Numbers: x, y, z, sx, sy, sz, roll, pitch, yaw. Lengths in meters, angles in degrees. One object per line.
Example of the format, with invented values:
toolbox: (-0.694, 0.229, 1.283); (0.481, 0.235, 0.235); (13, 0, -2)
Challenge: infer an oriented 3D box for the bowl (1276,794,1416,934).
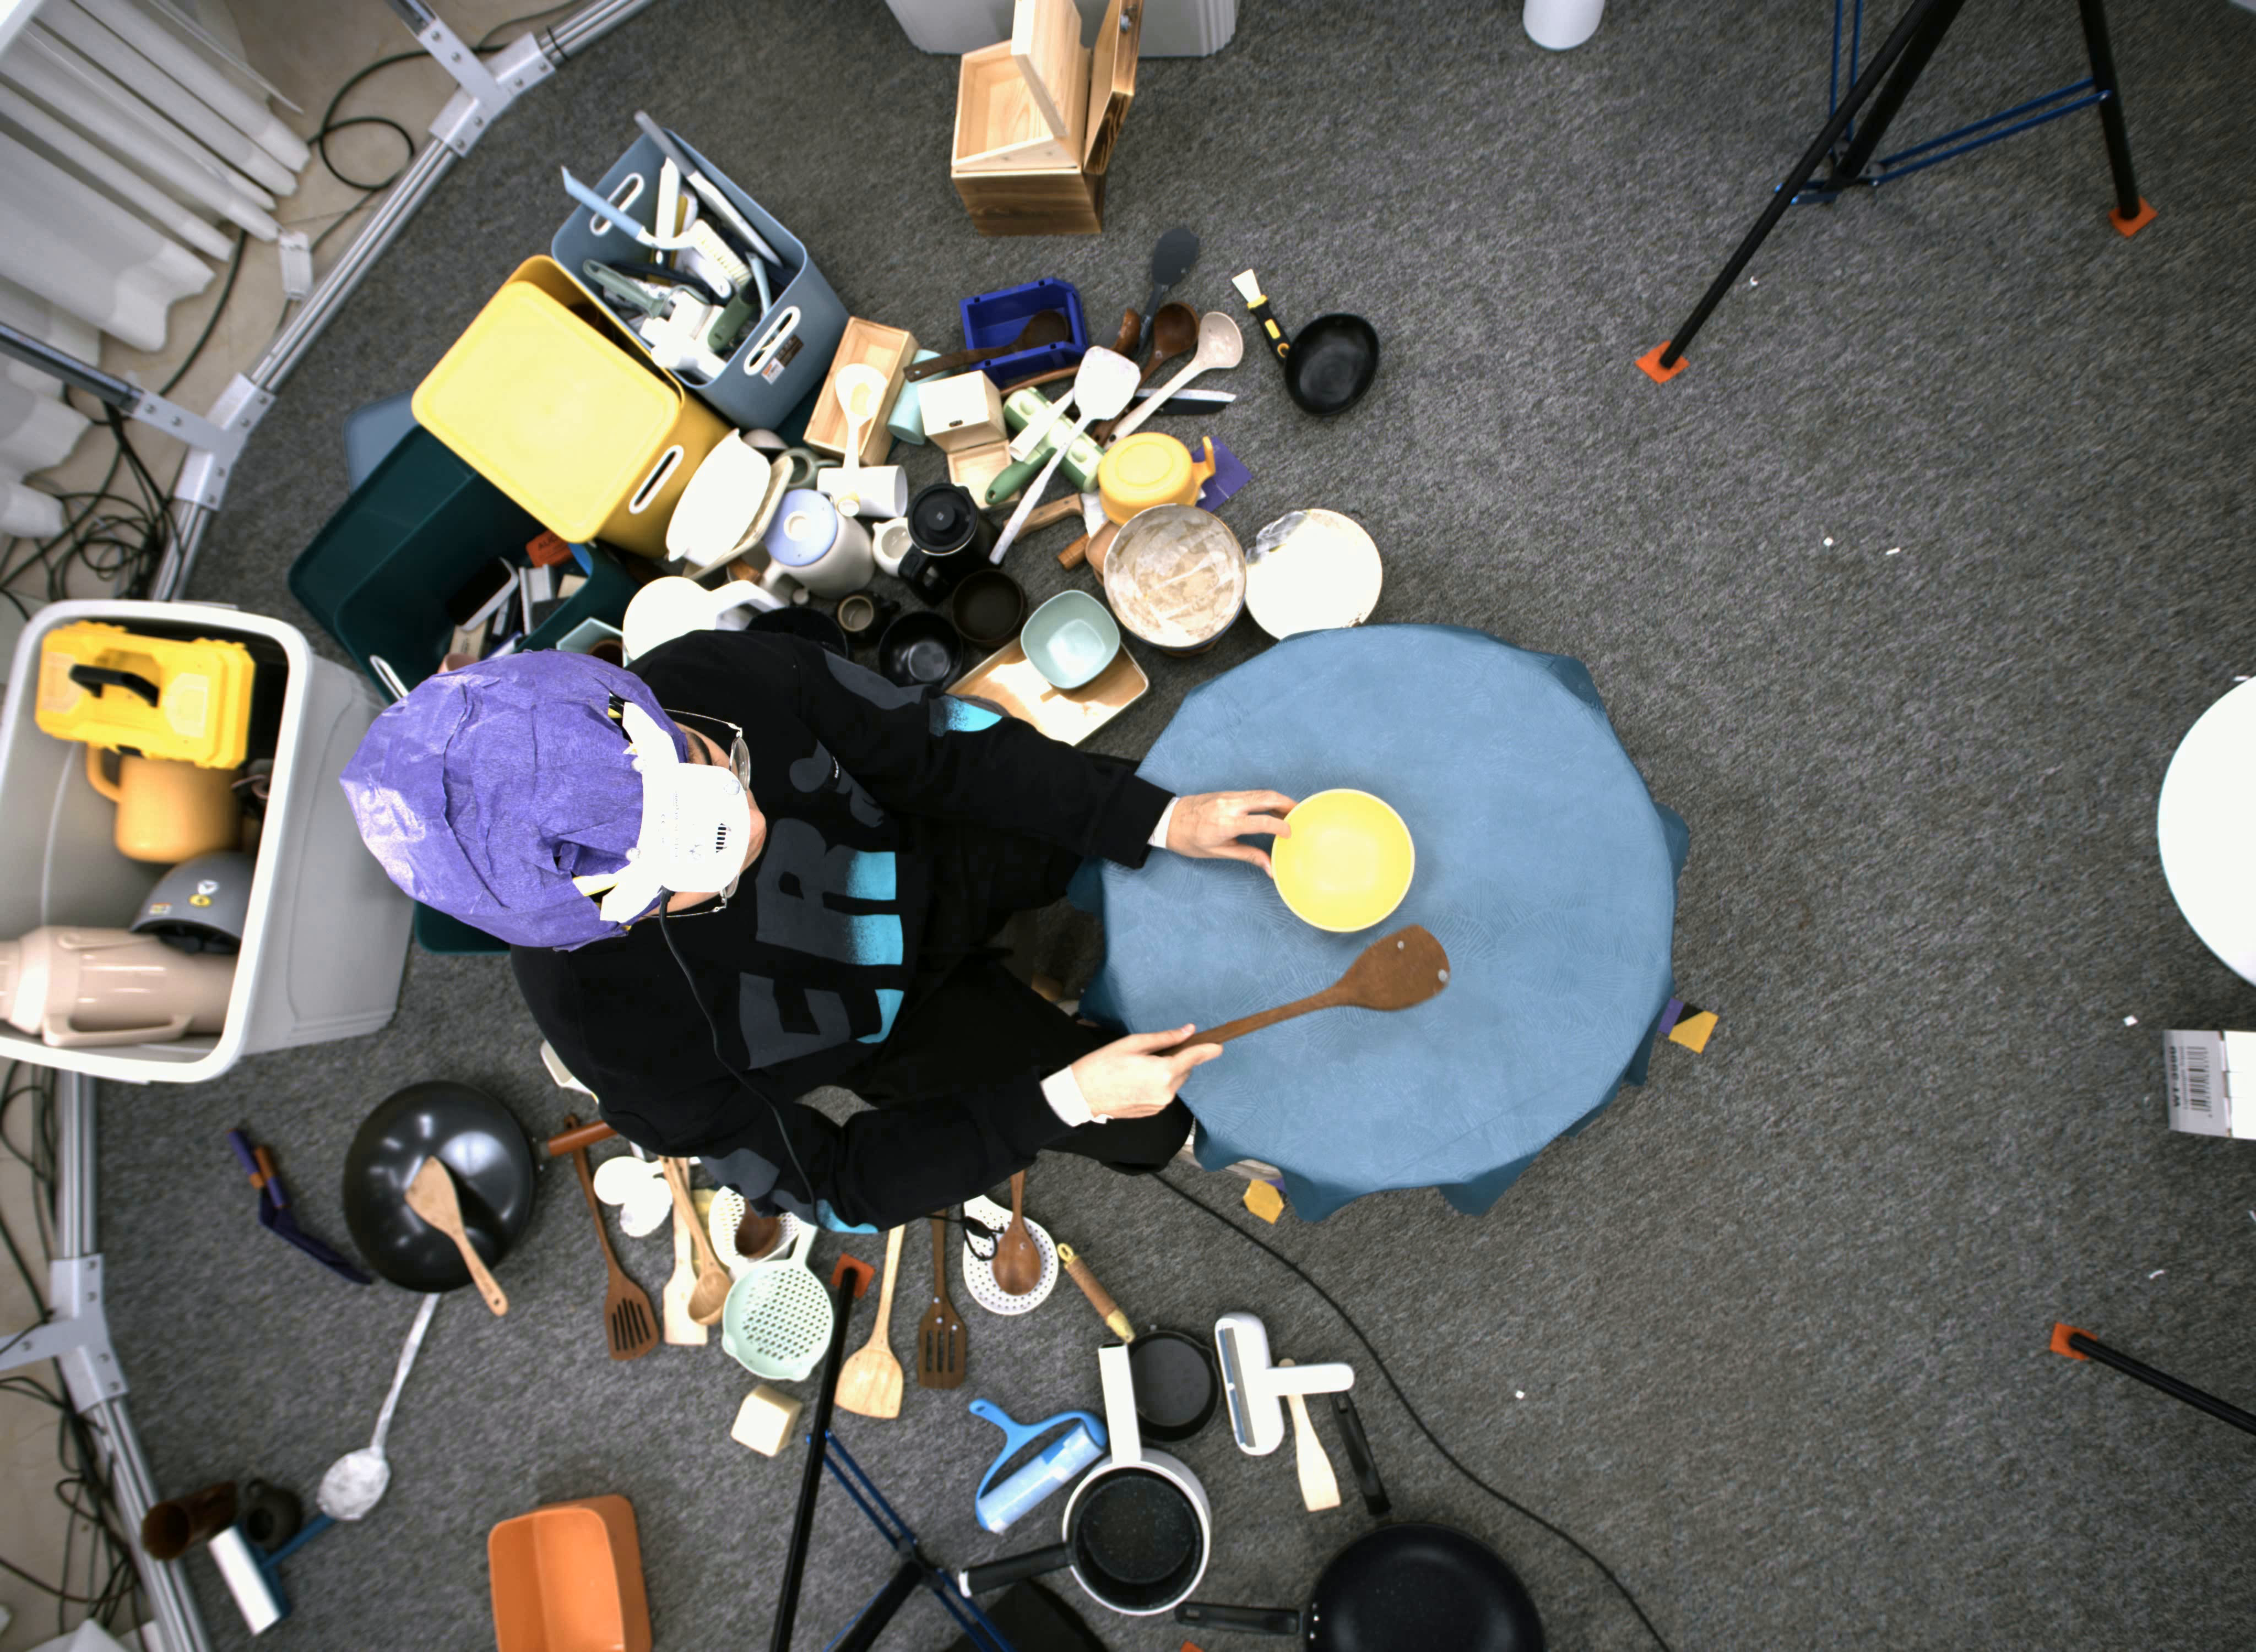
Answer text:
bowl: (0.225, 0.040, 1.439); (0.146, 0.060, 0.145); (0, 87, 6)

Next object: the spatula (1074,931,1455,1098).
spatula: (0.128, 0.192, 1.346); (0.387, 0.016, 0.094); (-20, 39, 4)
